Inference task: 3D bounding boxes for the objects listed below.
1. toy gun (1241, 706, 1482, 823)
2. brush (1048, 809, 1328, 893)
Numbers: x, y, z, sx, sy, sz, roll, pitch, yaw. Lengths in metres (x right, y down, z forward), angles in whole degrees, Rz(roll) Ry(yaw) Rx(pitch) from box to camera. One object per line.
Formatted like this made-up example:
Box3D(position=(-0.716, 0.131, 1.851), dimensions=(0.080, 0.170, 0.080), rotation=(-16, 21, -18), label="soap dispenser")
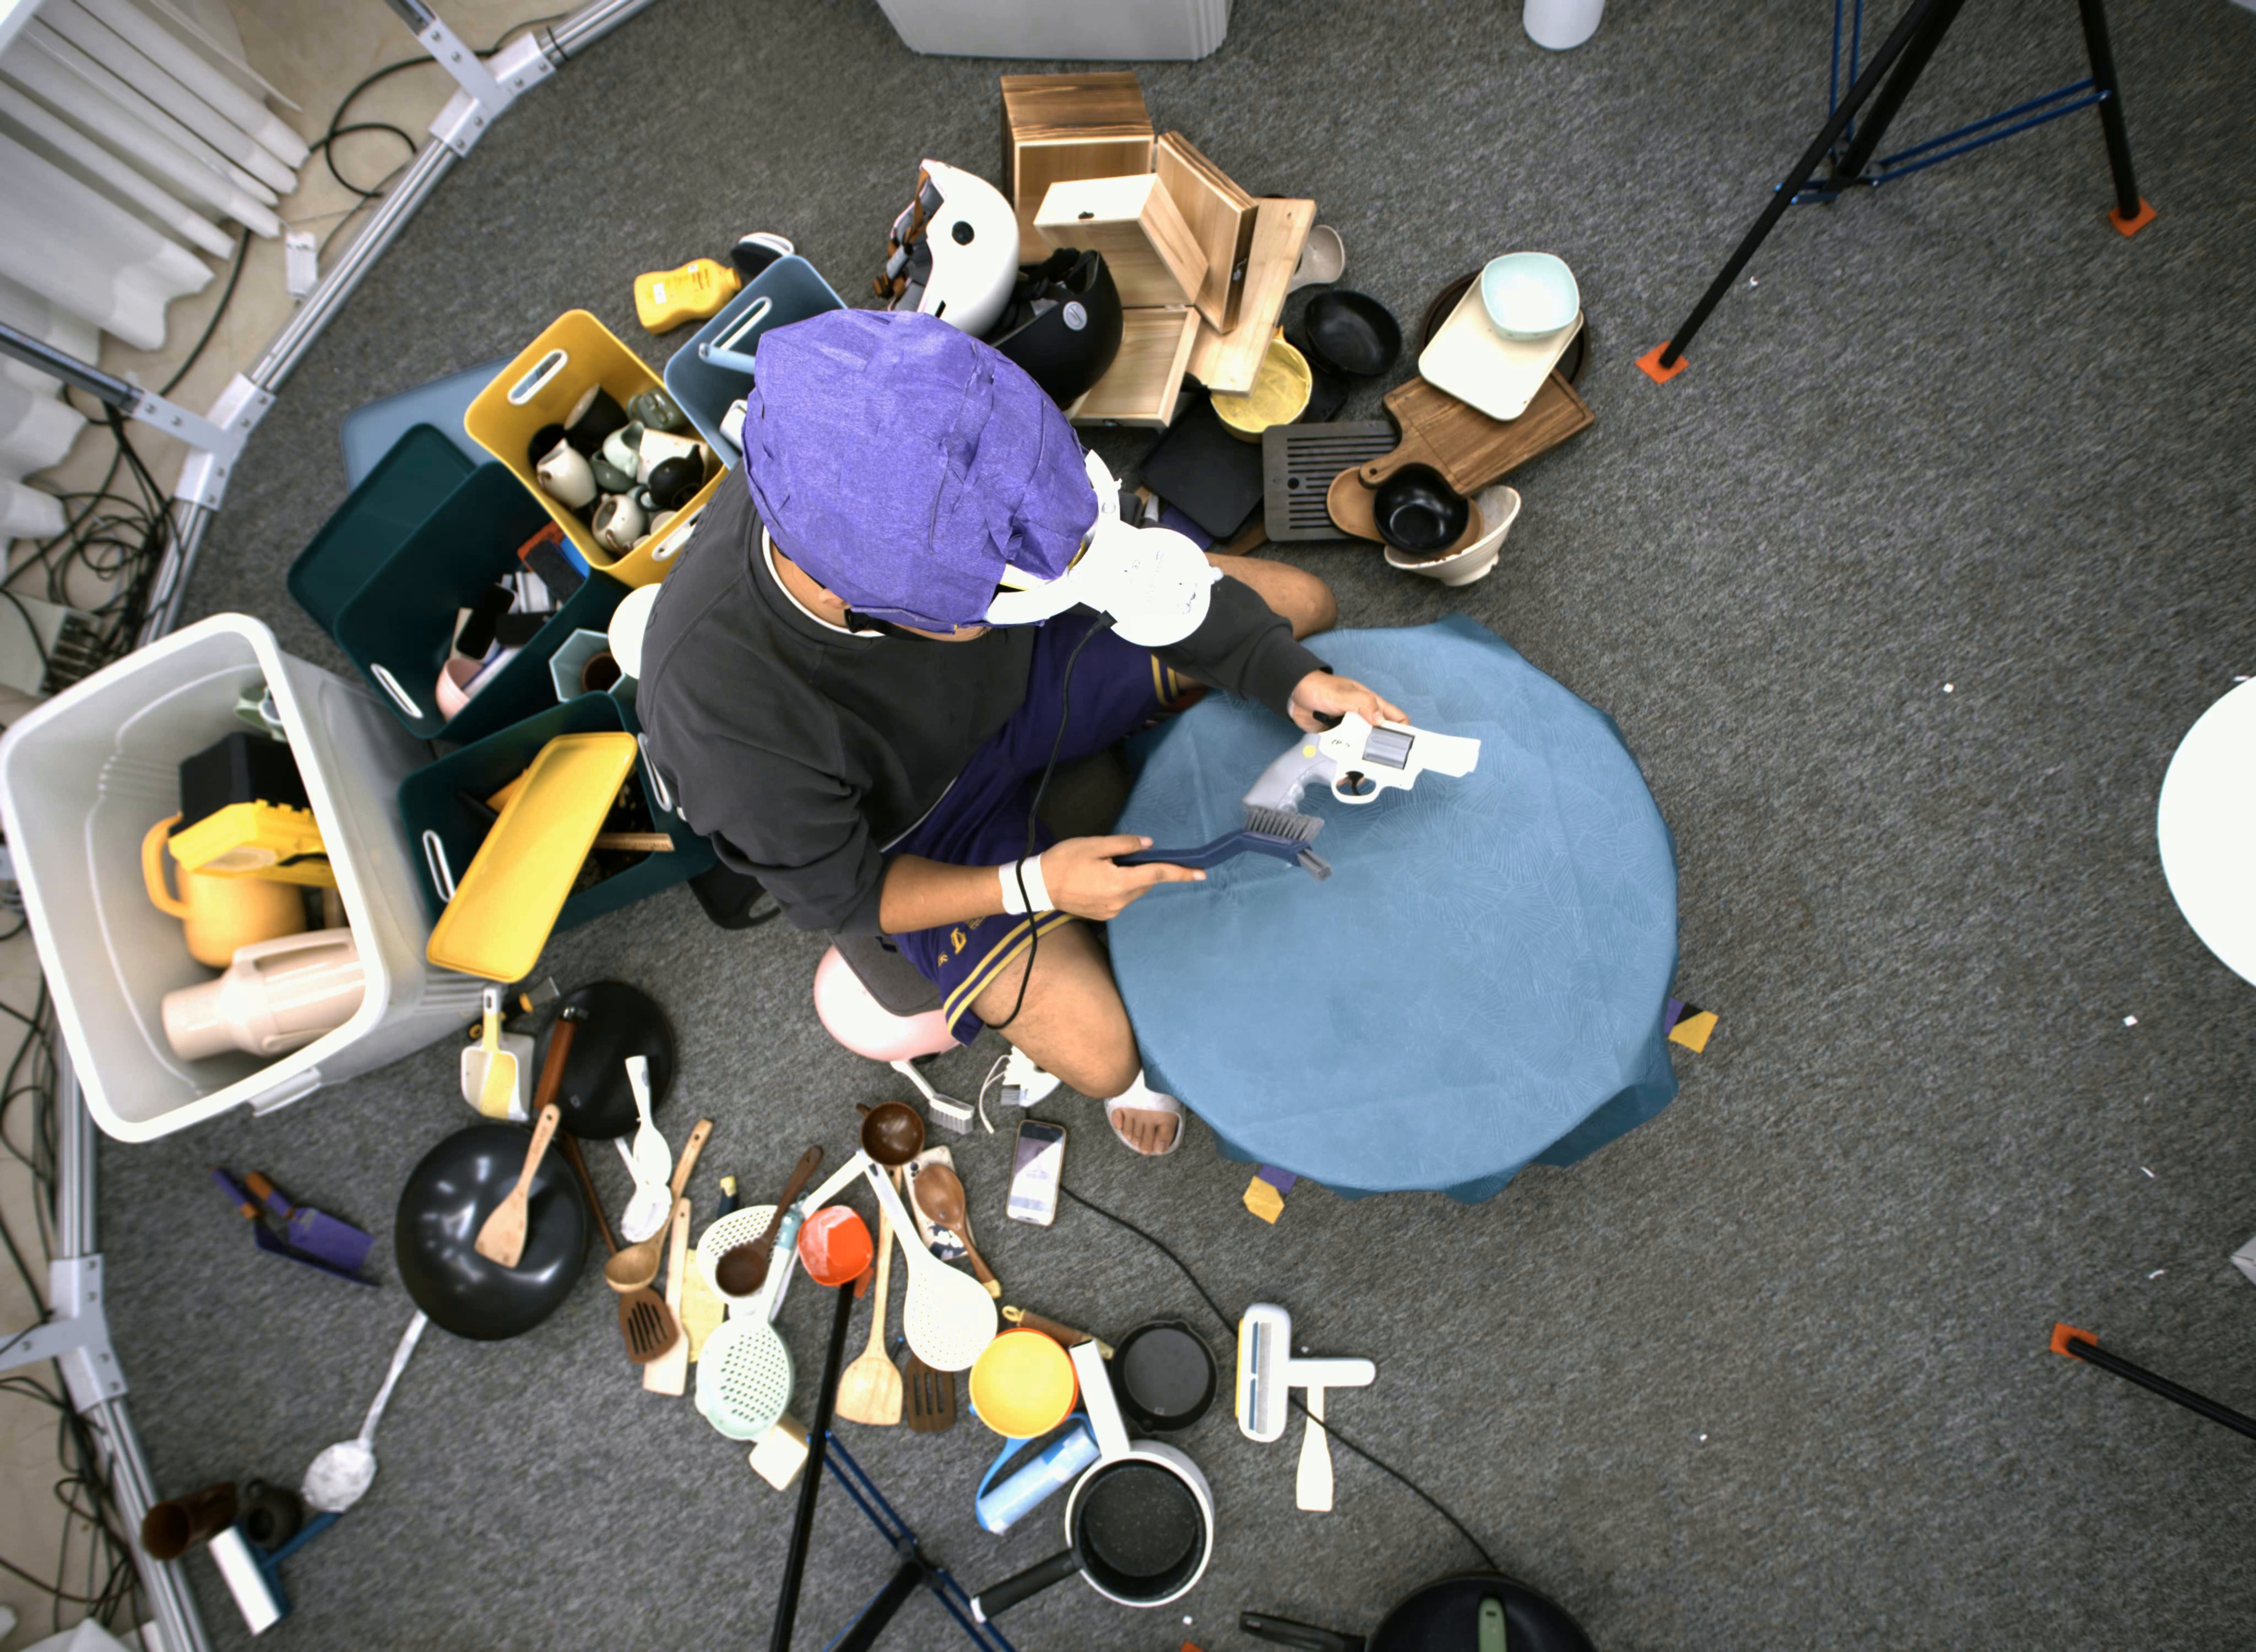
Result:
Box3D(position=(0.228, -0.050, 1.347), dimensions=(0.209, 0.039, 0.139), rotation=(15, 71, 19), label="toy gun")
Box3D(position=(0.054, 0.036, 1.336), dimensions=(0.275, 0.034, 0.093), rotation=(-10, 61, 18), label="brush")
